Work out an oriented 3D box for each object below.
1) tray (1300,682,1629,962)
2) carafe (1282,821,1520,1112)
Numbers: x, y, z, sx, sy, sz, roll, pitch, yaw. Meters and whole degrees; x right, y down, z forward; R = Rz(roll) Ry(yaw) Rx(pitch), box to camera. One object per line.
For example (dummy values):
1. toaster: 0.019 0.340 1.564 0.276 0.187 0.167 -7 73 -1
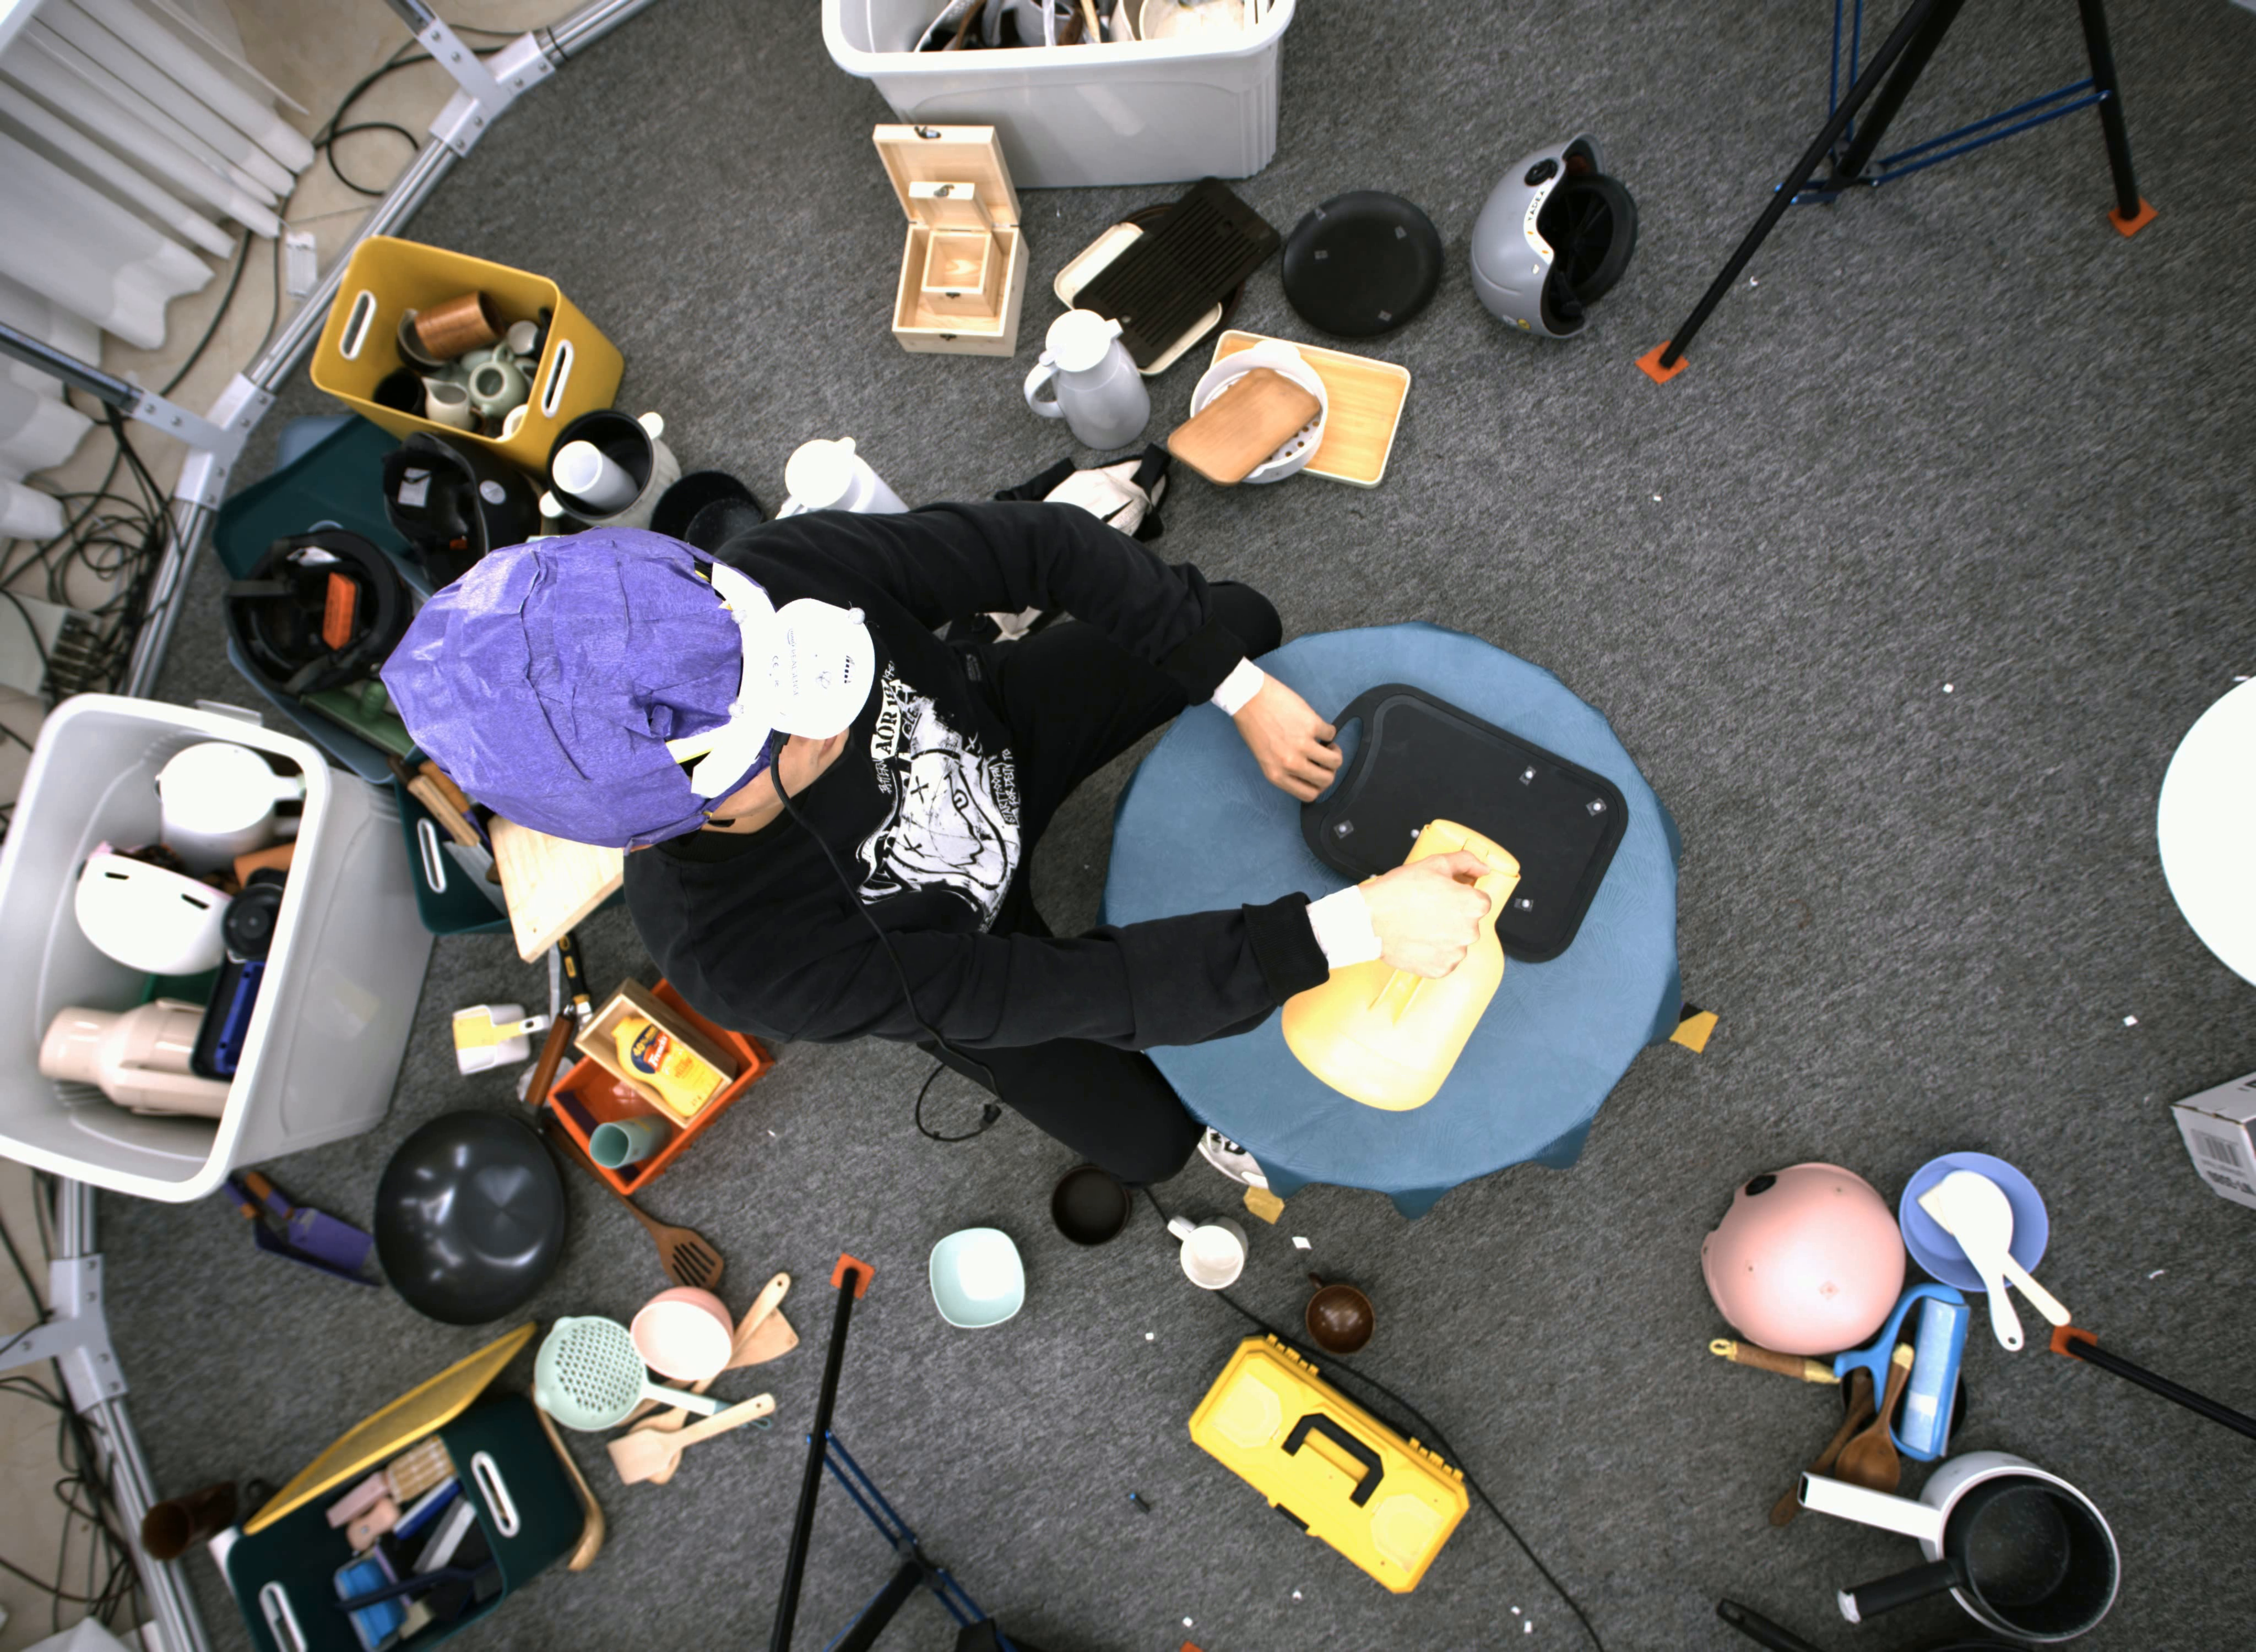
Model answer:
1. tray: 0.342 -0.010 1.429 0.325 0.010 0.211 27 92 4
2. carafe: 0.254 0.123 1.256 0.163 0.200 0.263 29 104 13
